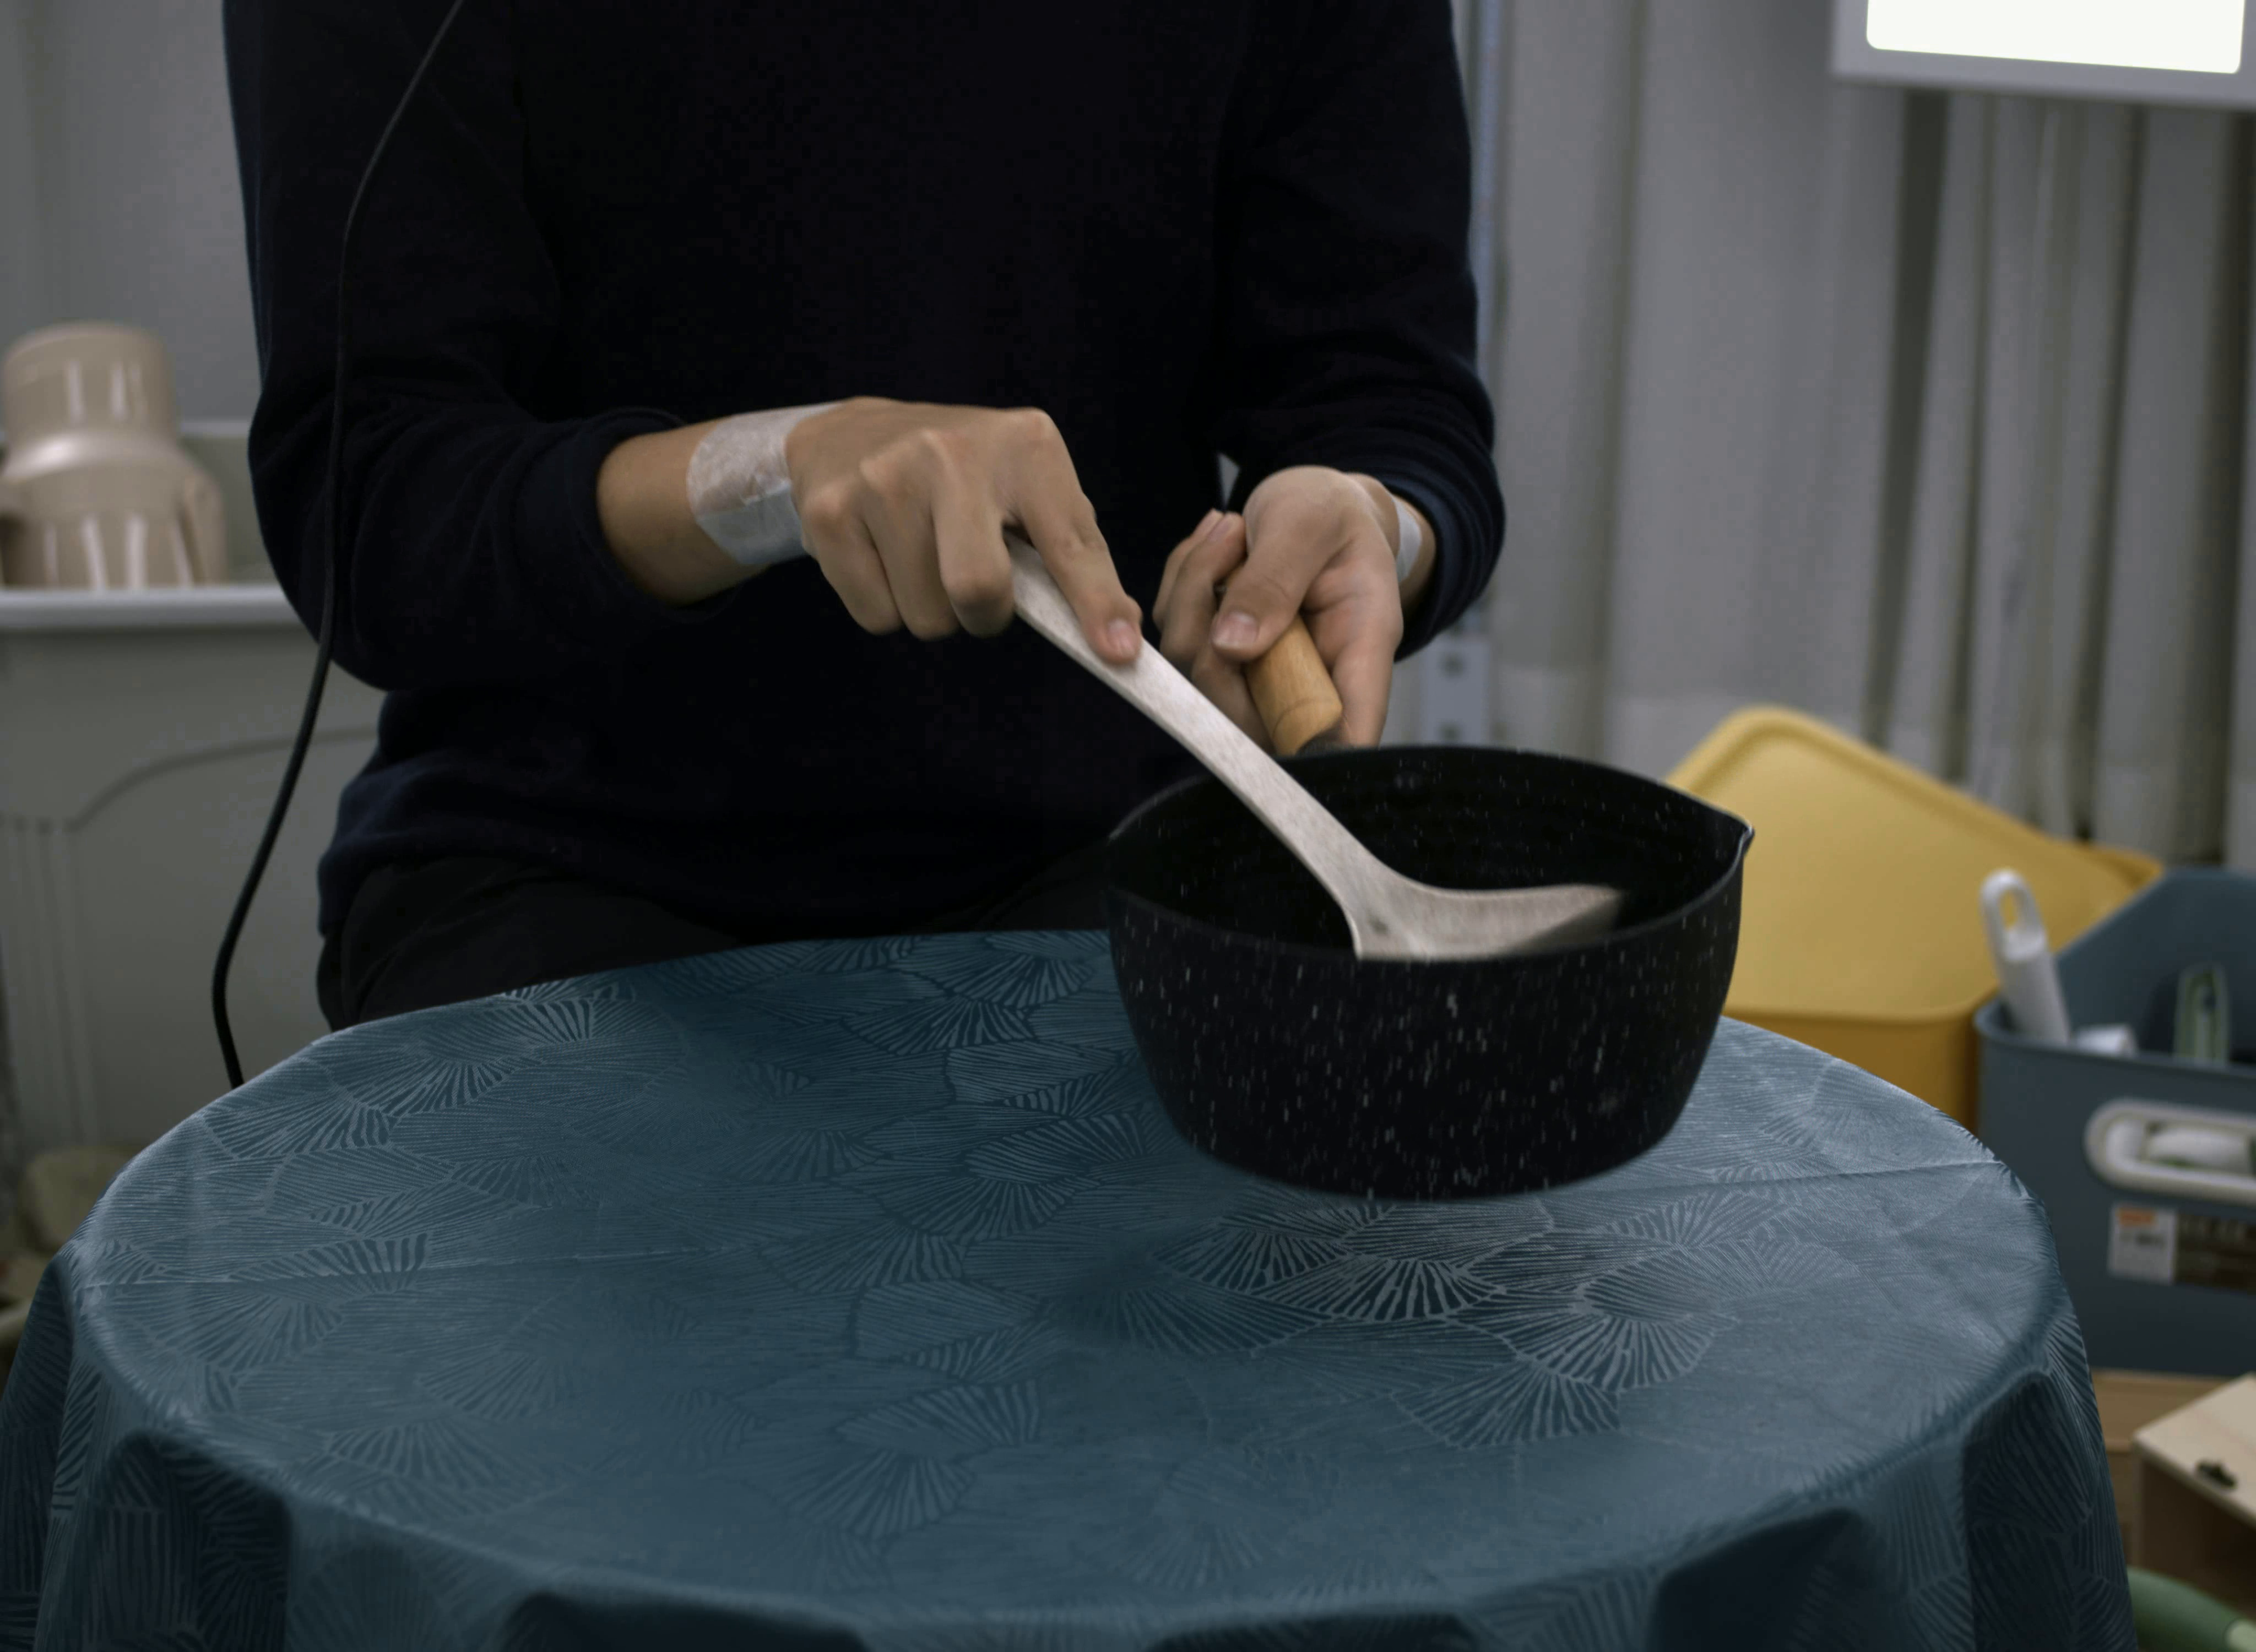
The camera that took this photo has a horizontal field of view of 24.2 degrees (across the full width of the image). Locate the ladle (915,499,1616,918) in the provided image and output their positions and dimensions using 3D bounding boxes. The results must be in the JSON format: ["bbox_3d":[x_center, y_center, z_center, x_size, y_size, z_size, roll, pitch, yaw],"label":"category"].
[{"bbox_3d":[0.033,-0.039,1.586,0.089,0.070,0.272,-27,59,-36],"label":"ladle"}]

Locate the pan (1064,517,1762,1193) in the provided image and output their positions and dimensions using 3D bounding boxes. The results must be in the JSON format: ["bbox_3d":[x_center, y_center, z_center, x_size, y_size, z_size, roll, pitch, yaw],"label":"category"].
[{"bbox_3d":[0.068,0.004,1.613,0.207,0.109,0.339,-6,21,-12],"label":"pan"}]
